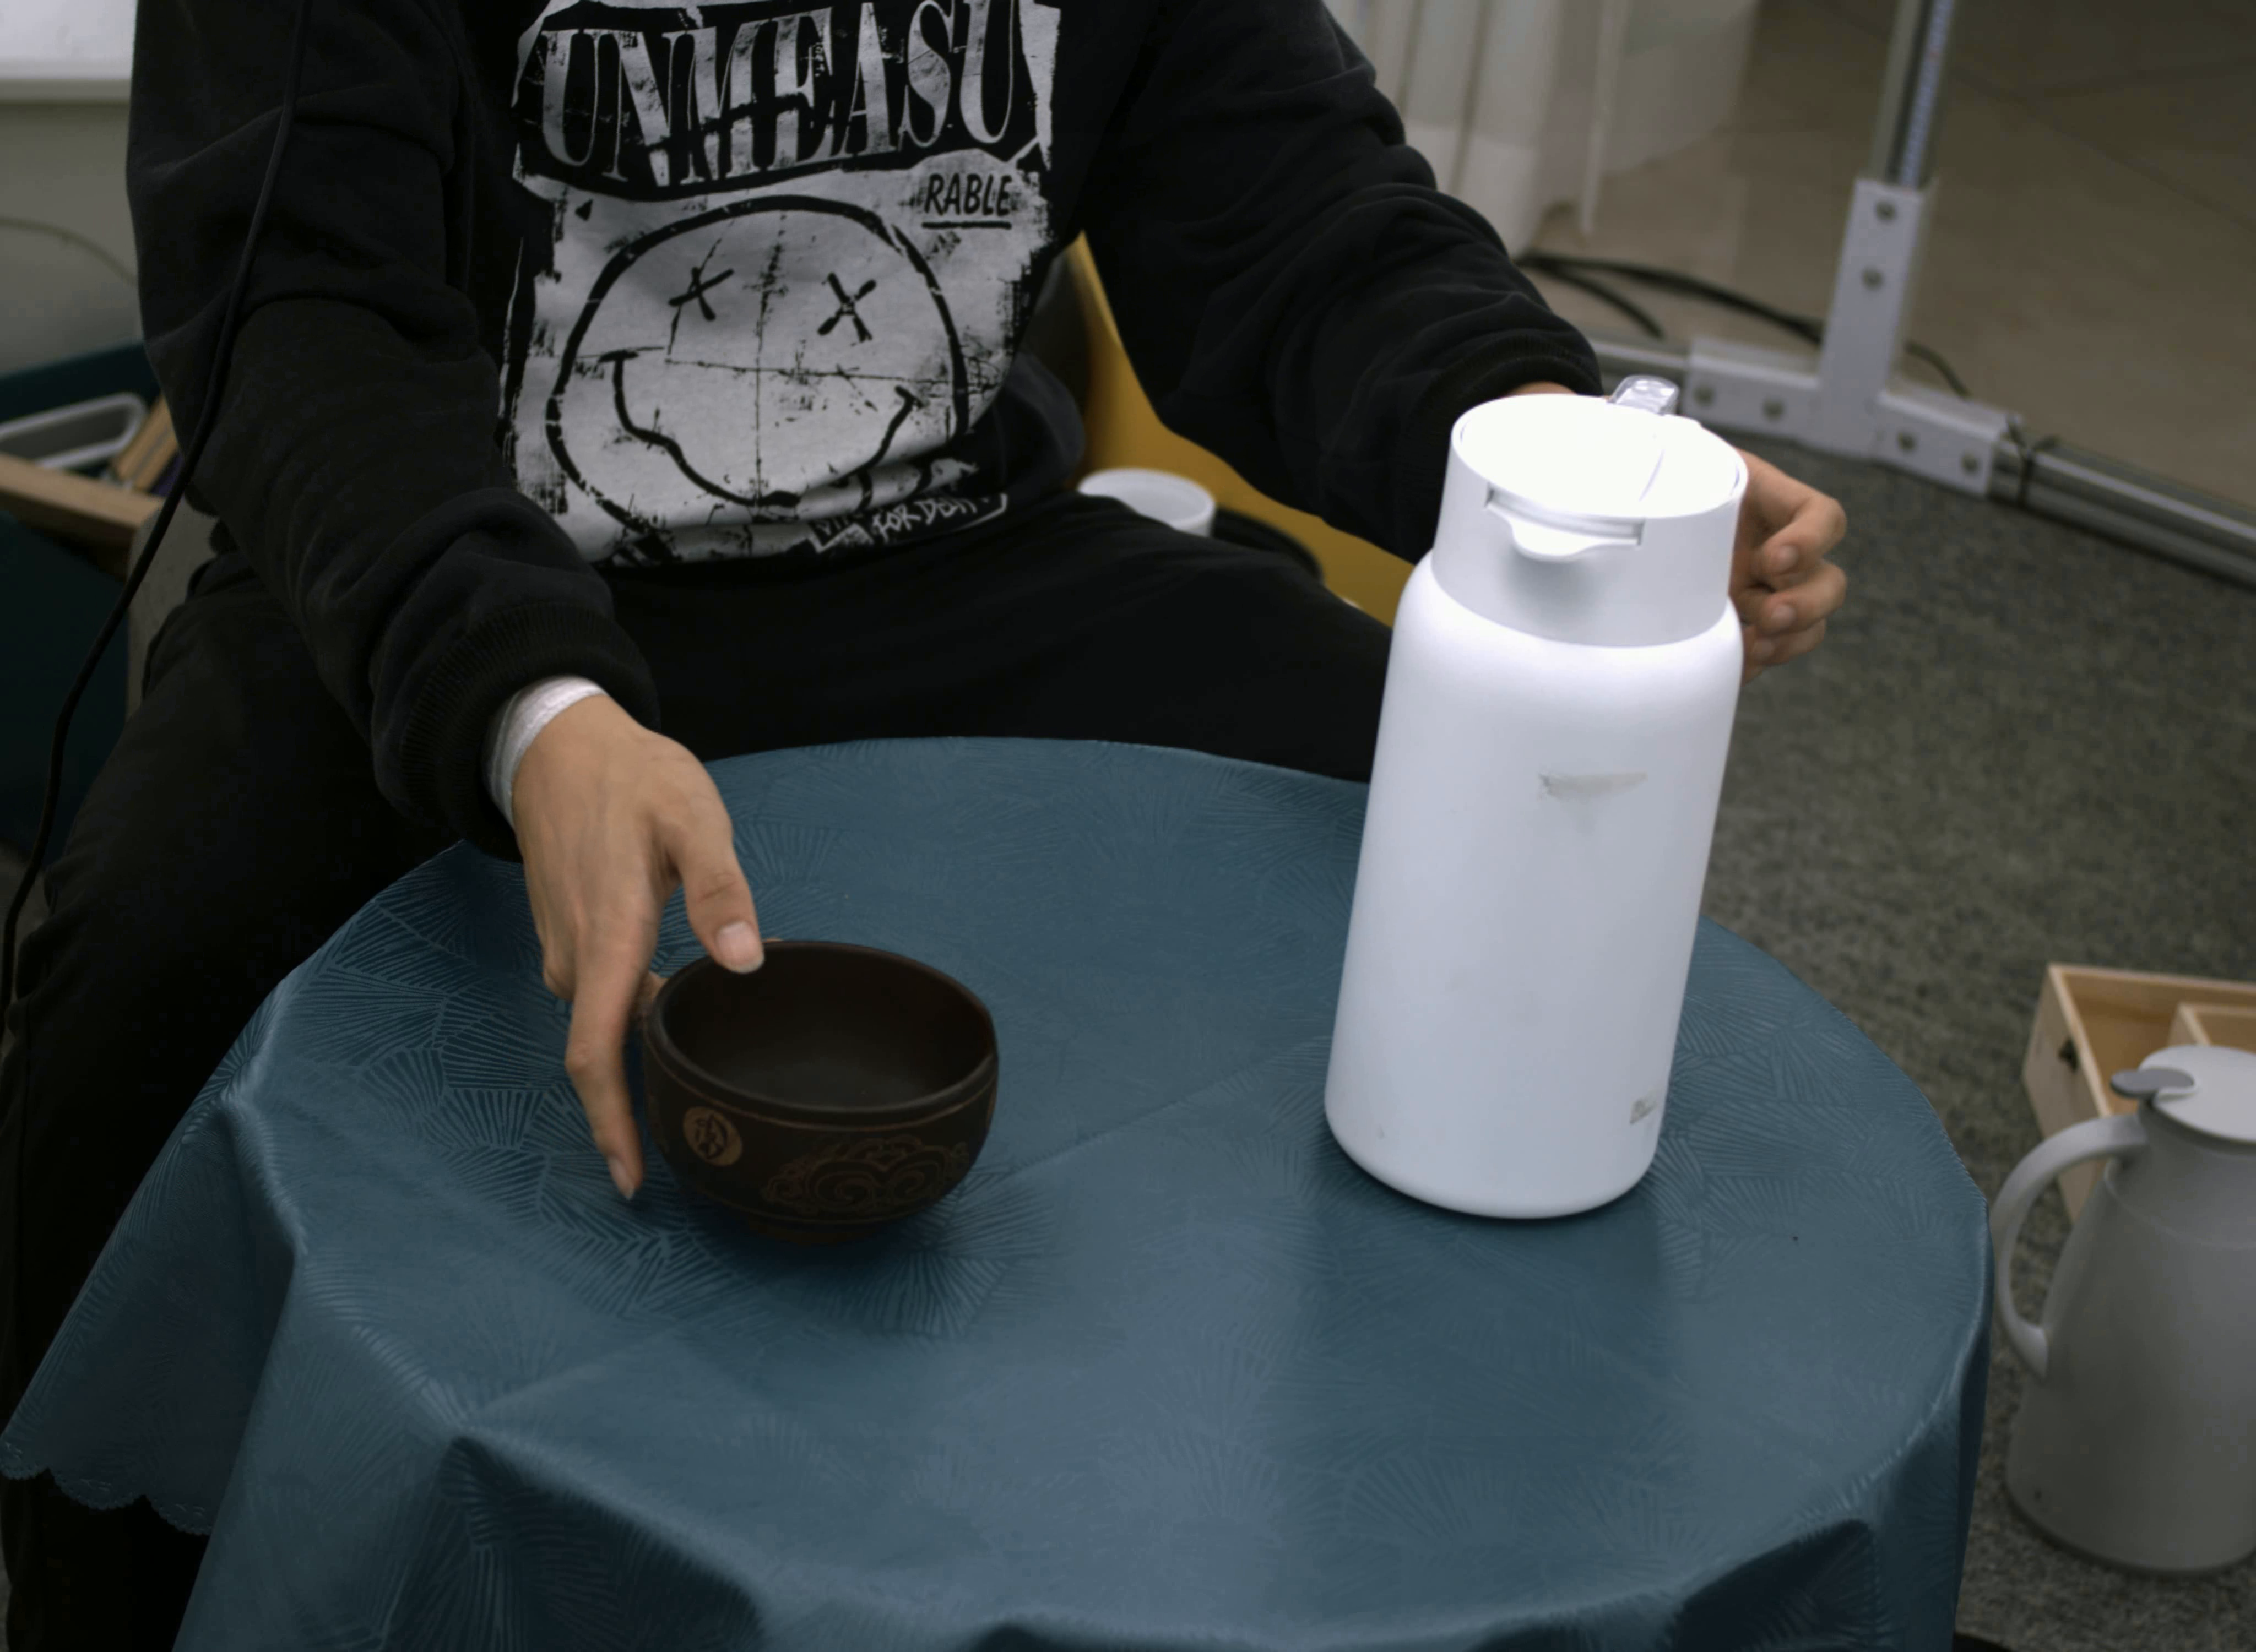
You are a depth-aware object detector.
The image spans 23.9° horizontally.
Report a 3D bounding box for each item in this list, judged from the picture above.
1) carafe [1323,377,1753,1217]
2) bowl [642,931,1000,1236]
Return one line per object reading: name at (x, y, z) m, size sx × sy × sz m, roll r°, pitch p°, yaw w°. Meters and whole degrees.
carafe at (0.143, -0.014, 1.815) m, size 0.124 × 0.268 × 0.173 m, roll 12°, pitch 27°, yaw 15°
bowl at (-0.103, 0.092, 1.762) m, size 0.117 × 0.069 × 0.119 m, roll 5°, pitch 26°, yaw -3°
